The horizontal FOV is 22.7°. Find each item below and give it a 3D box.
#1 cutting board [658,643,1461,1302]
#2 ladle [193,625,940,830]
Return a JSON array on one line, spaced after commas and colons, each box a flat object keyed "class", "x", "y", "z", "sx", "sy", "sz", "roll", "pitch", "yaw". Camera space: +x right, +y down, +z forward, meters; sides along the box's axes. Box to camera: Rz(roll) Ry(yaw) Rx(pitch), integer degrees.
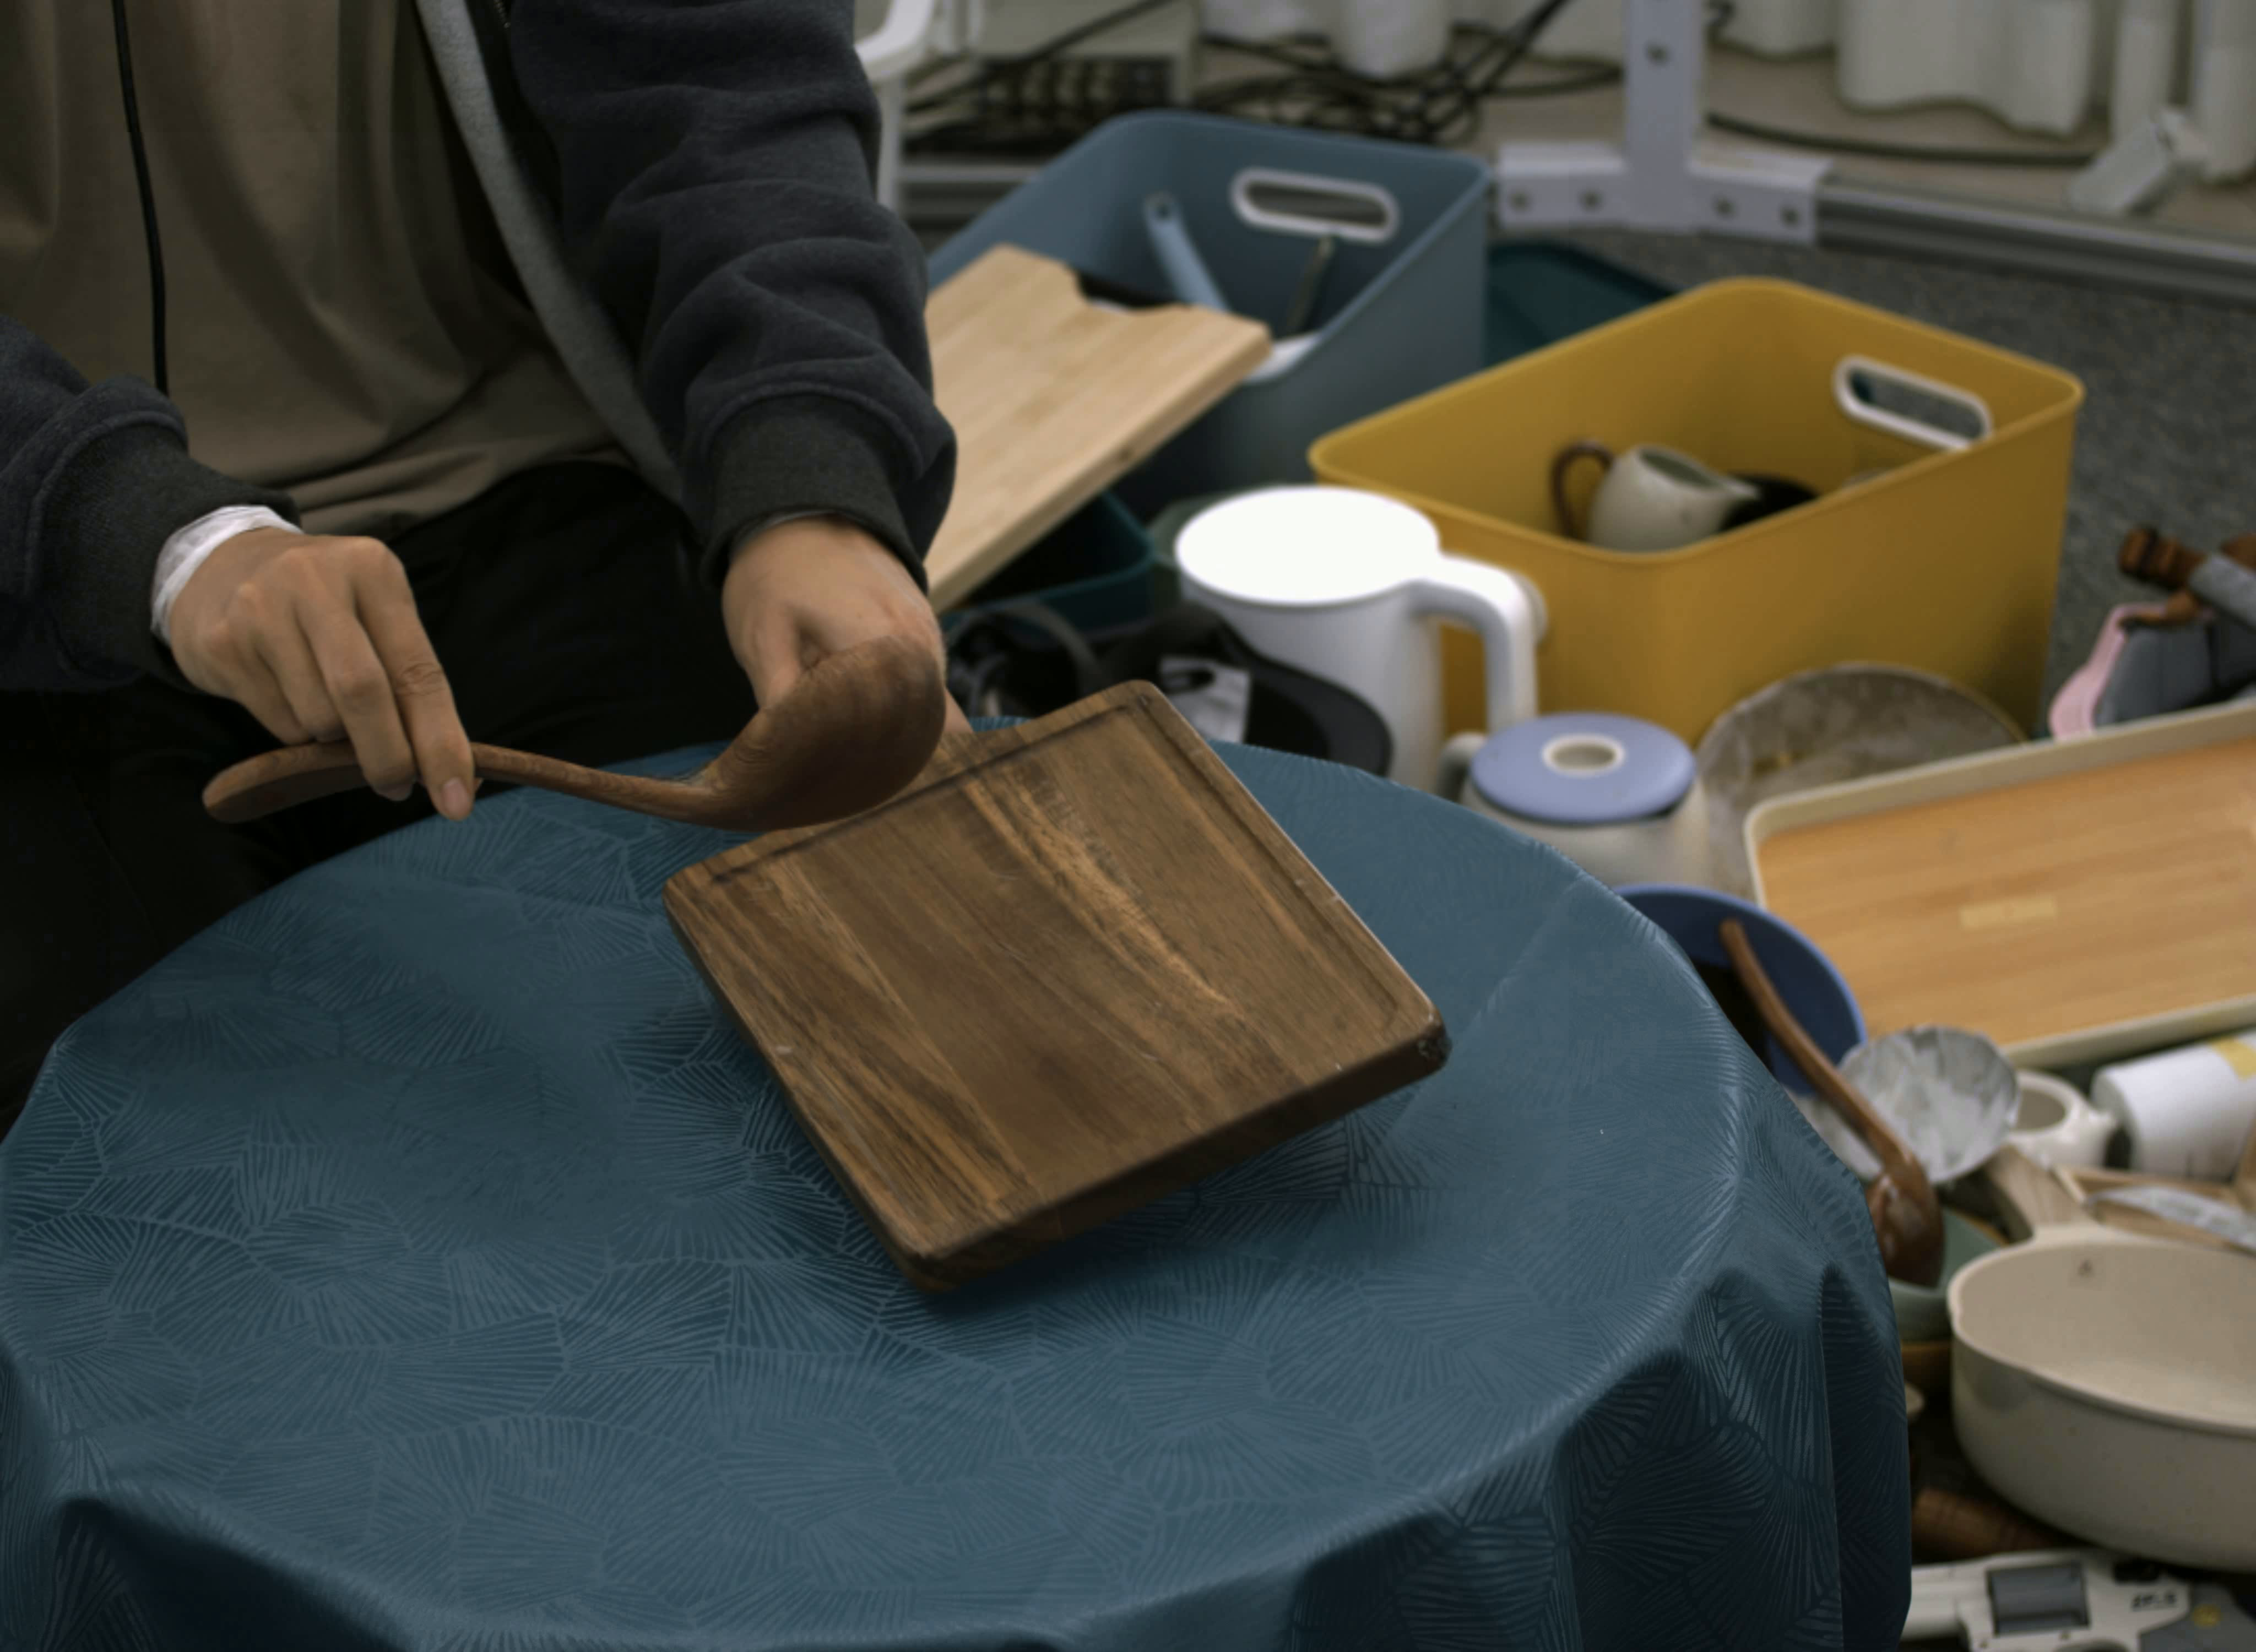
[{"class": "cutting board", "x": -0.048, "y": 0.026, "z": 1.942, "sx": 0.202, "sy": 0.023, "sz": 0.355, "roll": -22, "pitch": 37, "yaw": -14}, {"class": "ladle", "x": -0.187, "y": -0.031, "z": 1.857, "sx": 0.258, "sy": 0.076, "sz": 0.066, "roll": 0, "pitch": 67, "yaw": 19}]
